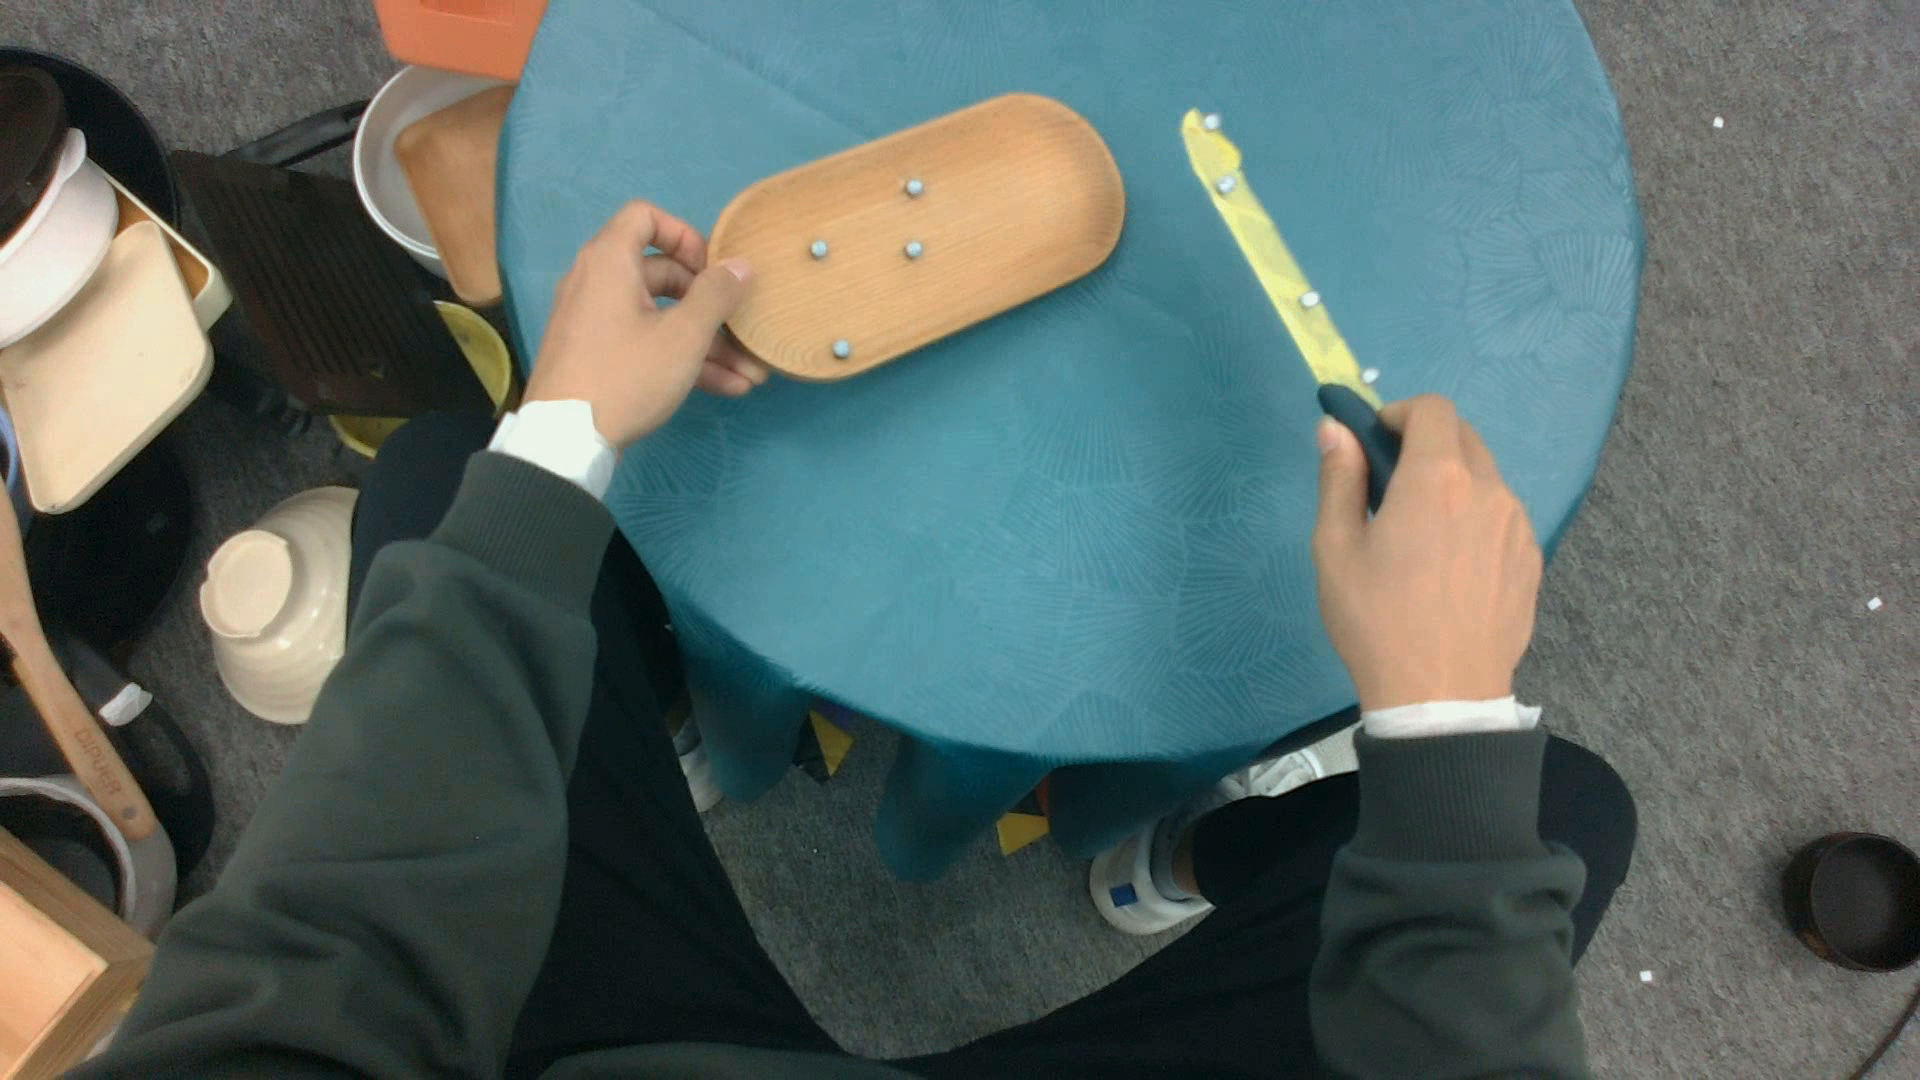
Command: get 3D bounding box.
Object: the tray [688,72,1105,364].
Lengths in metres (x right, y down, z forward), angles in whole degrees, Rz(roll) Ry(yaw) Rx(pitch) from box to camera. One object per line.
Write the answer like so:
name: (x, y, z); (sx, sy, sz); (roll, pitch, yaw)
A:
tray: (-0.026, -0.160, 0.676); (0.232, 0.020, 0.101); (-28, 94, -26)

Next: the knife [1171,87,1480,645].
knife: (0.163, -0.087, 0.626); (0.027, 0.081, 0.290); (-32, 76, 34)
